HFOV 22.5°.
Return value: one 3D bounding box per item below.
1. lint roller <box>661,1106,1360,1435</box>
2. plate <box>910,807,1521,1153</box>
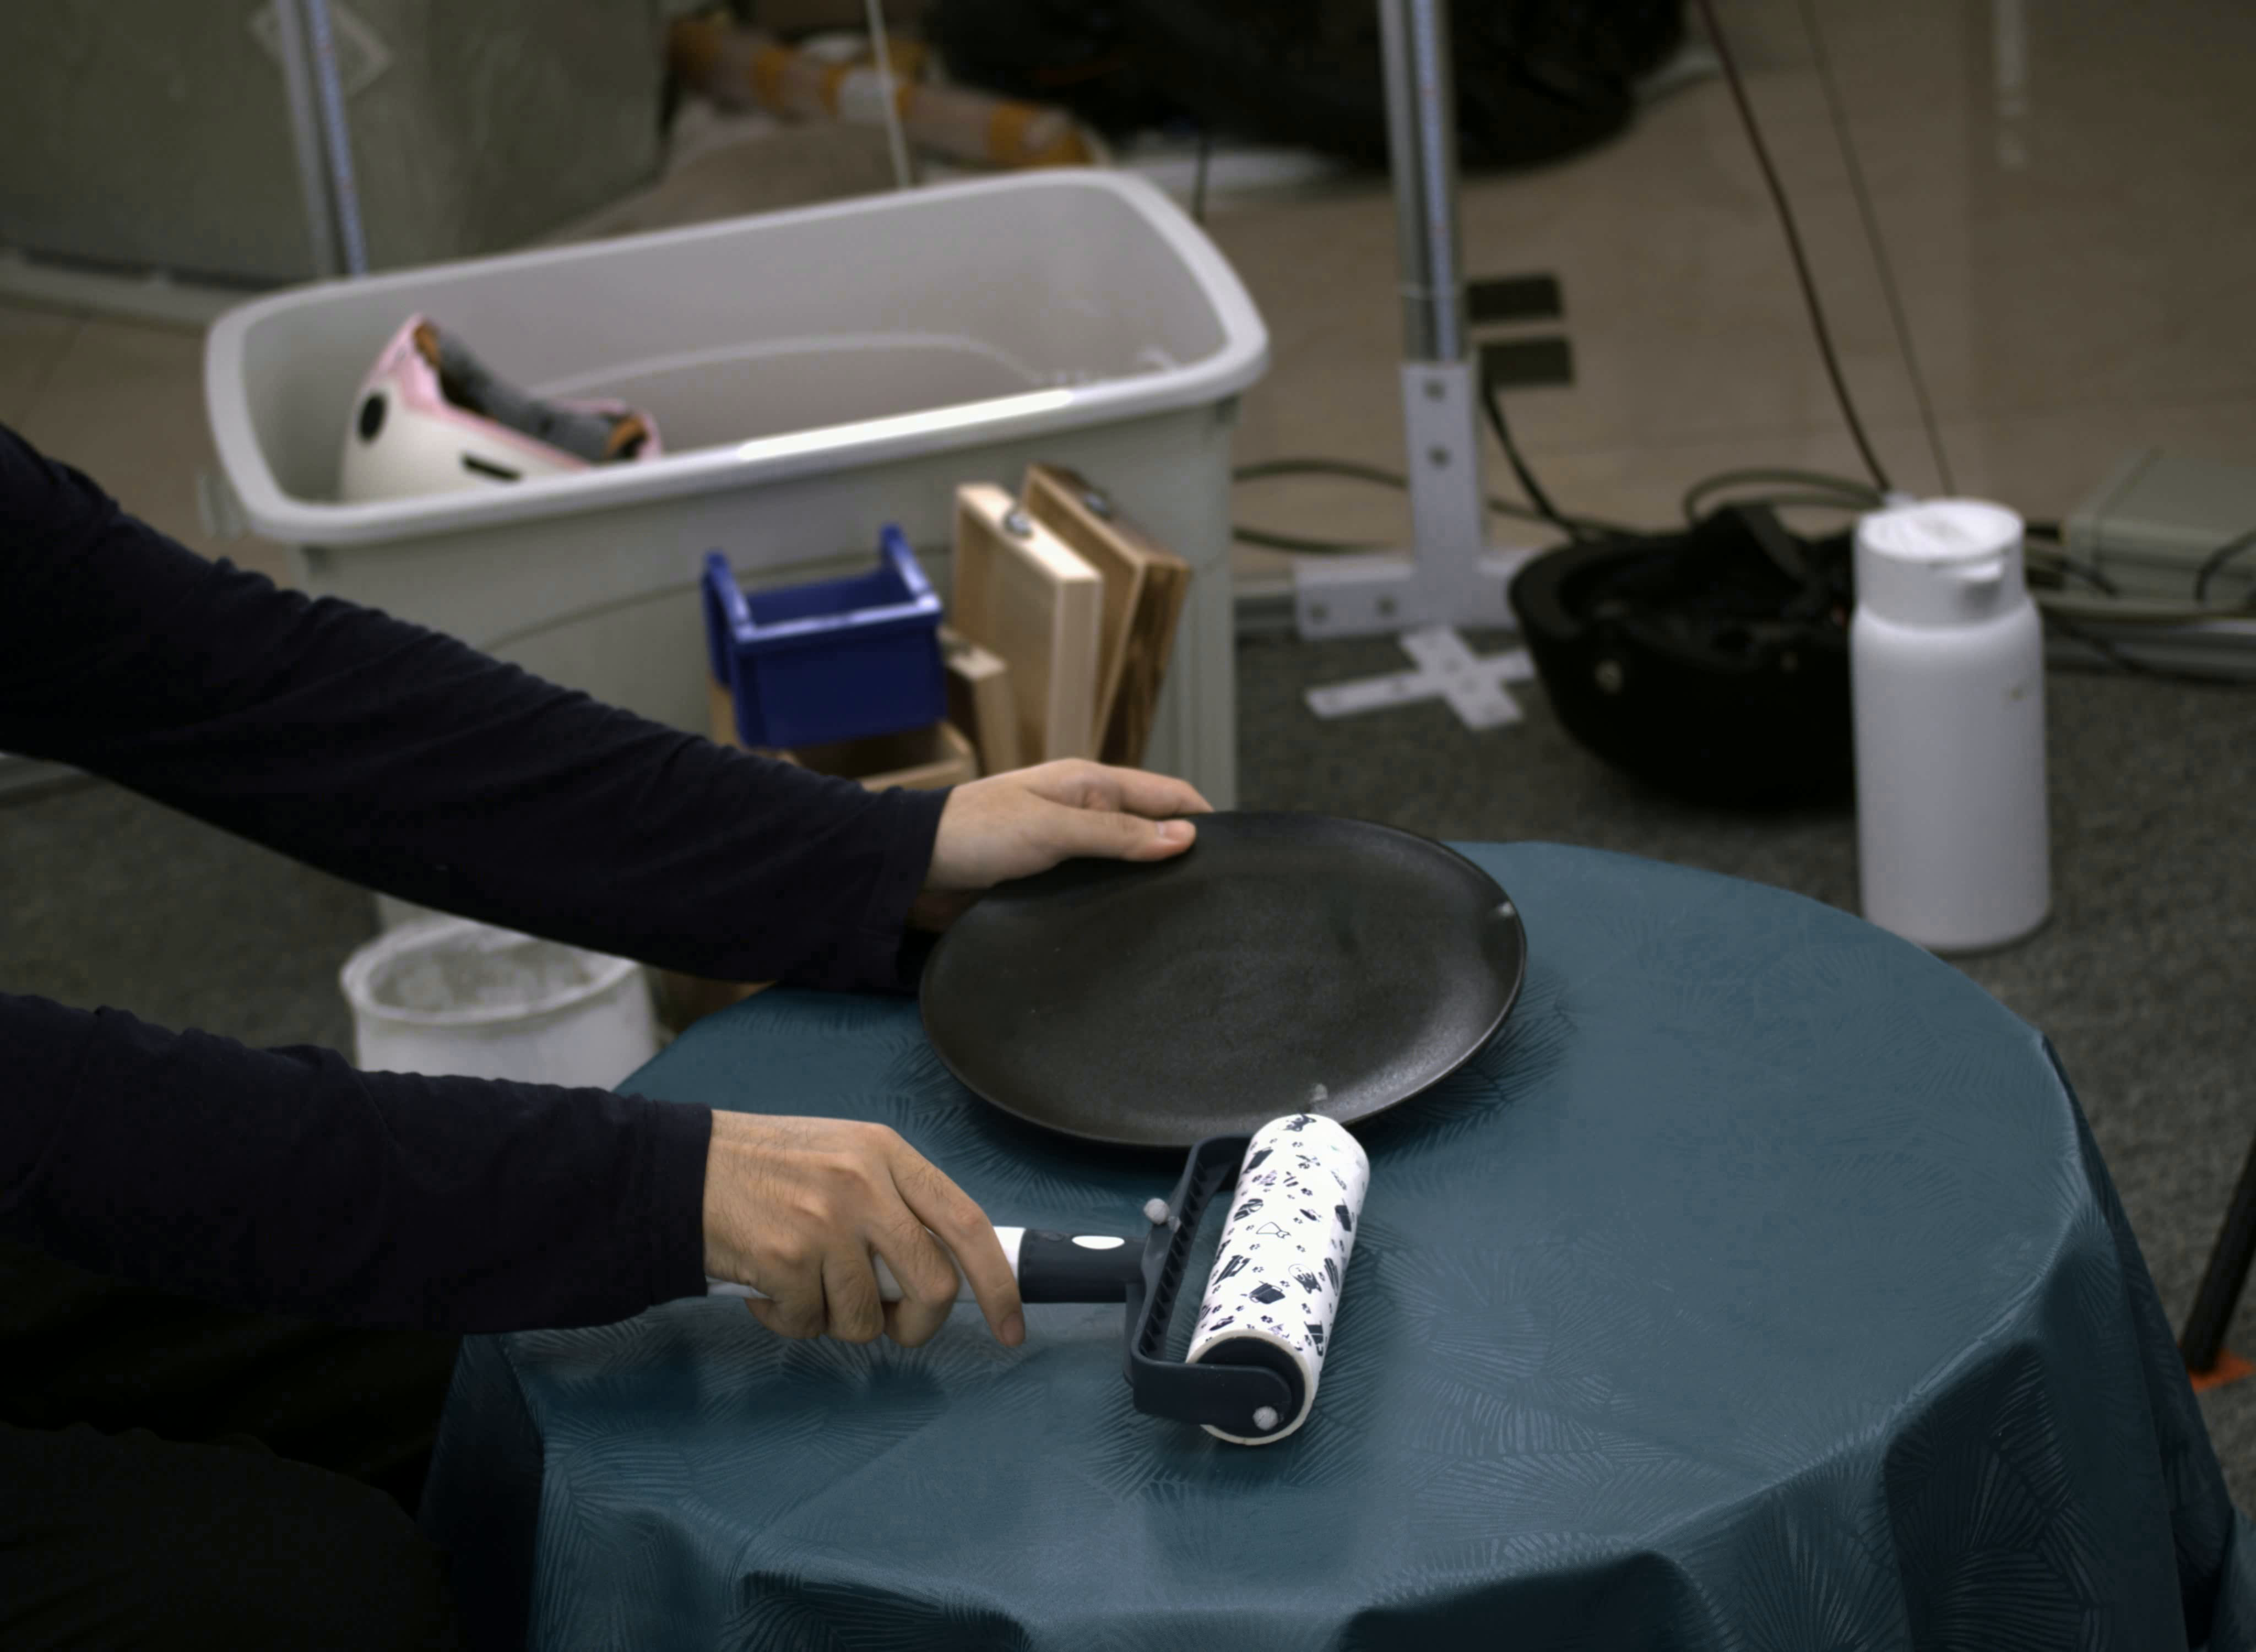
[{"bbox_3d":[-0.048,0.154,2.047,0.246,0.051,0.174,3,26,9],"label":"lint roller"},{"bbox_3d":[0.035,0.066,2.248,0.244,0.024,0.240,-5,32,3],"label":"plate"}]
